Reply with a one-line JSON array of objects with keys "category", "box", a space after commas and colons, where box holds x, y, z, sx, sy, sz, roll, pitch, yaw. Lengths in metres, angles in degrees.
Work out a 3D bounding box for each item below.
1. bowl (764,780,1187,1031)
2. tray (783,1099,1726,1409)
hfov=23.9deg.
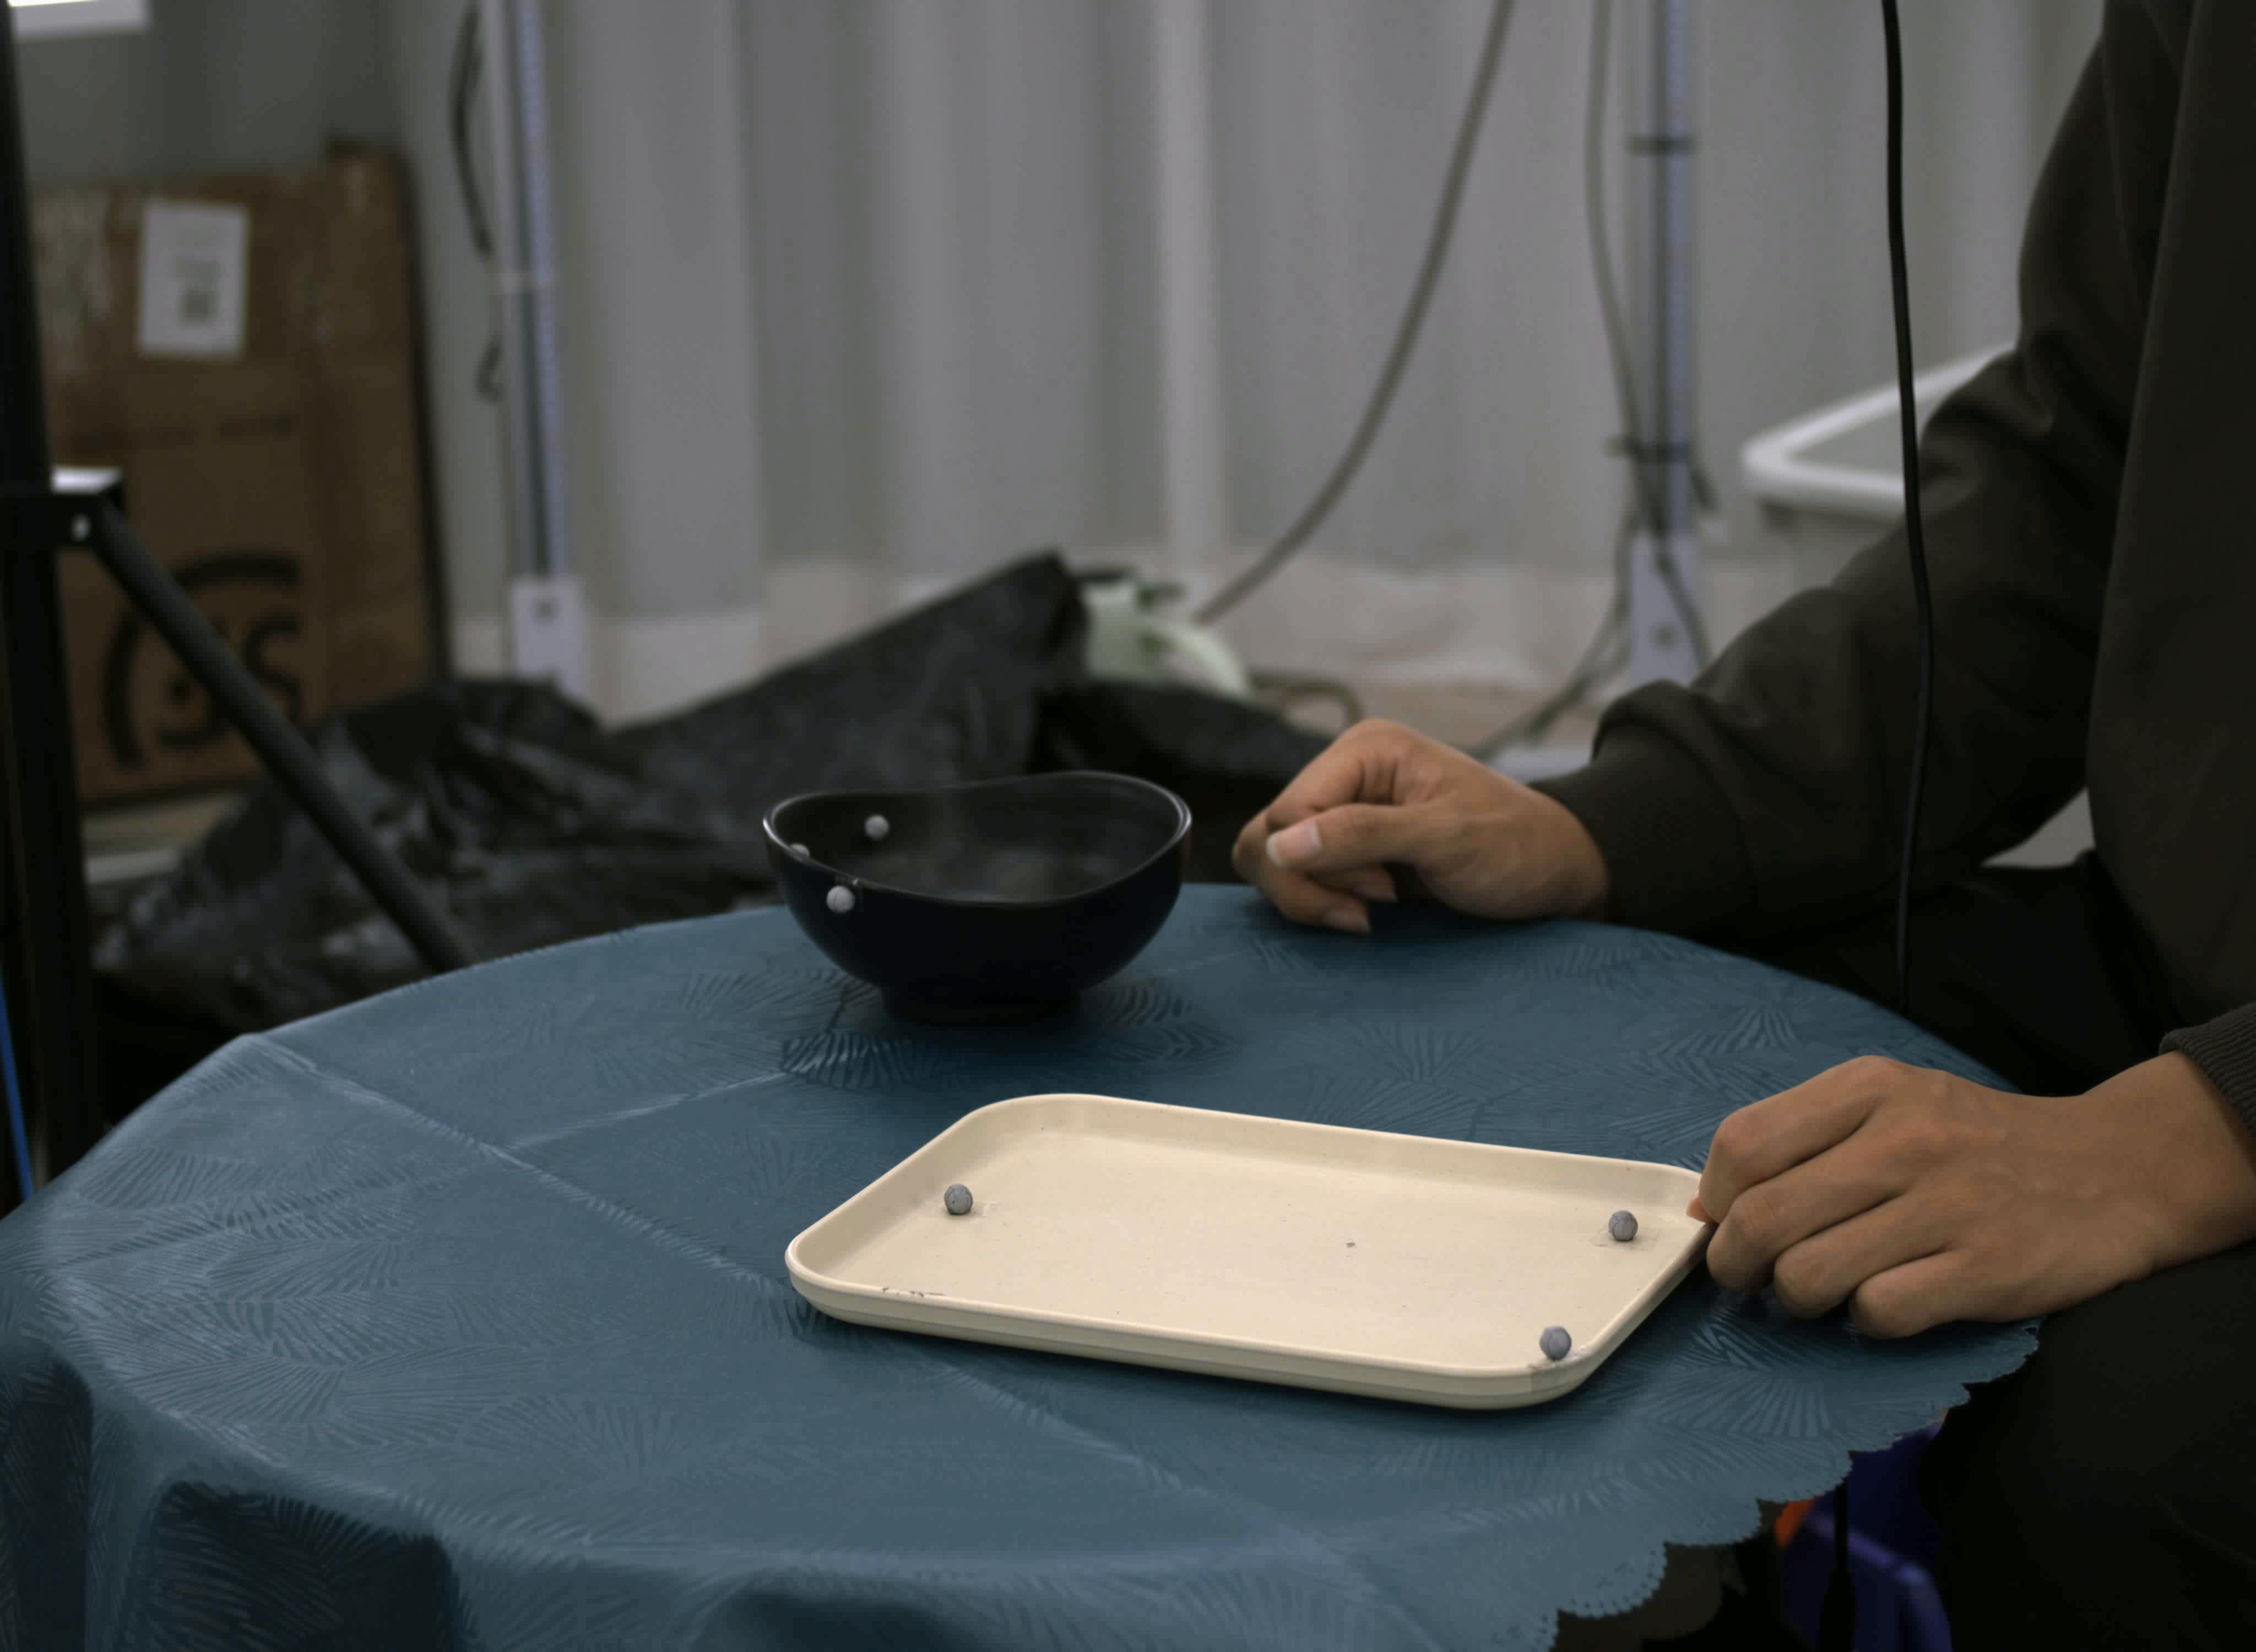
[{"category": "bowl", "box": [-0.050, 0.027, 1.739, 0.135, 0.067, 0.172, -4, 14, -12]}, {"category": "tray", "box": [0.037, 0.119, 1.485, 0.243, 0.017, 0.168, 5, 17, 25]}]
